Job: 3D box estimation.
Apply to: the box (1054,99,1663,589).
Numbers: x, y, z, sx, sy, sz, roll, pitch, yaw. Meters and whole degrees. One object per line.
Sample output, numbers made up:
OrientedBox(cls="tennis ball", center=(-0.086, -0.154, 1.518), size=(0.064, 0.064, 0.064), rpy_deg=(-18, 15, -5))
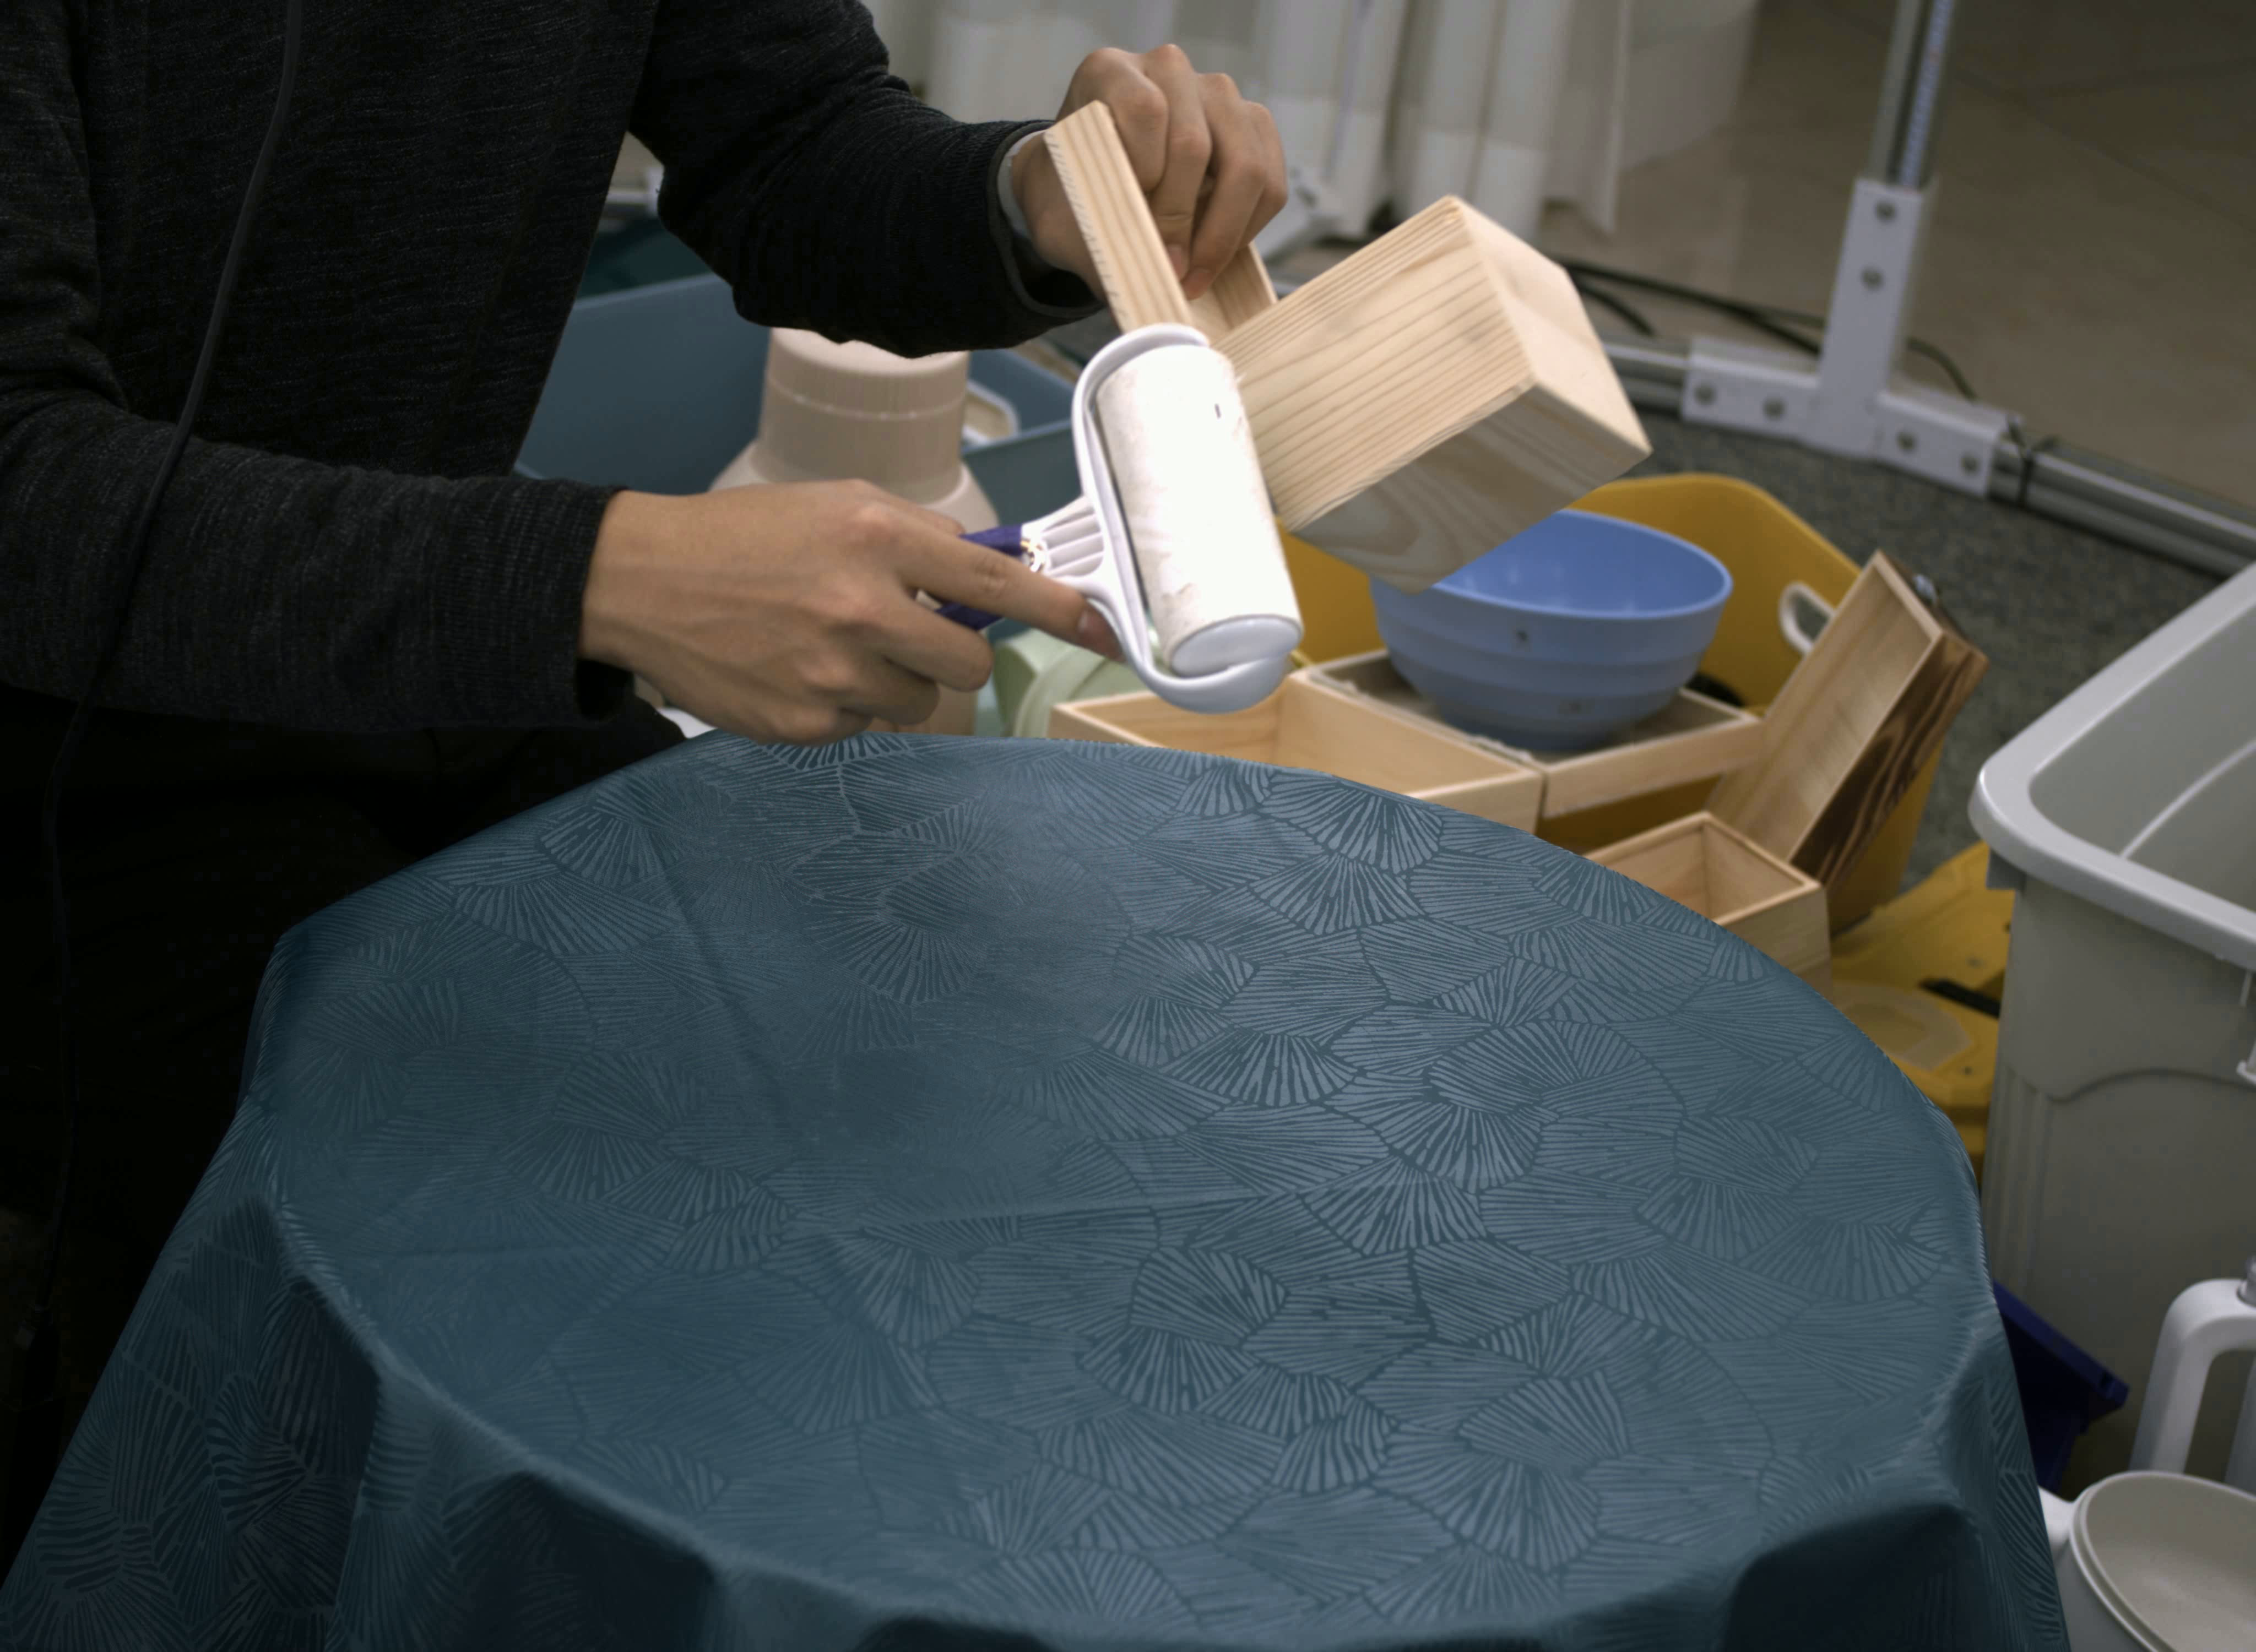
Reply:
OrientedBox(cls="box", center=(0.080, -0.188, 1.839), size=(0.102, 0.134, 0.186), rpy_deg=(22, 40, -60))

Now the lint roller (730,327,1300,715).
OrientedBox(cls="lint roller", center=(-0.043, -0.087, 1.720), size=(0.180, 0.050, 0.134), rpy_deg=(-11, 66, -2))
